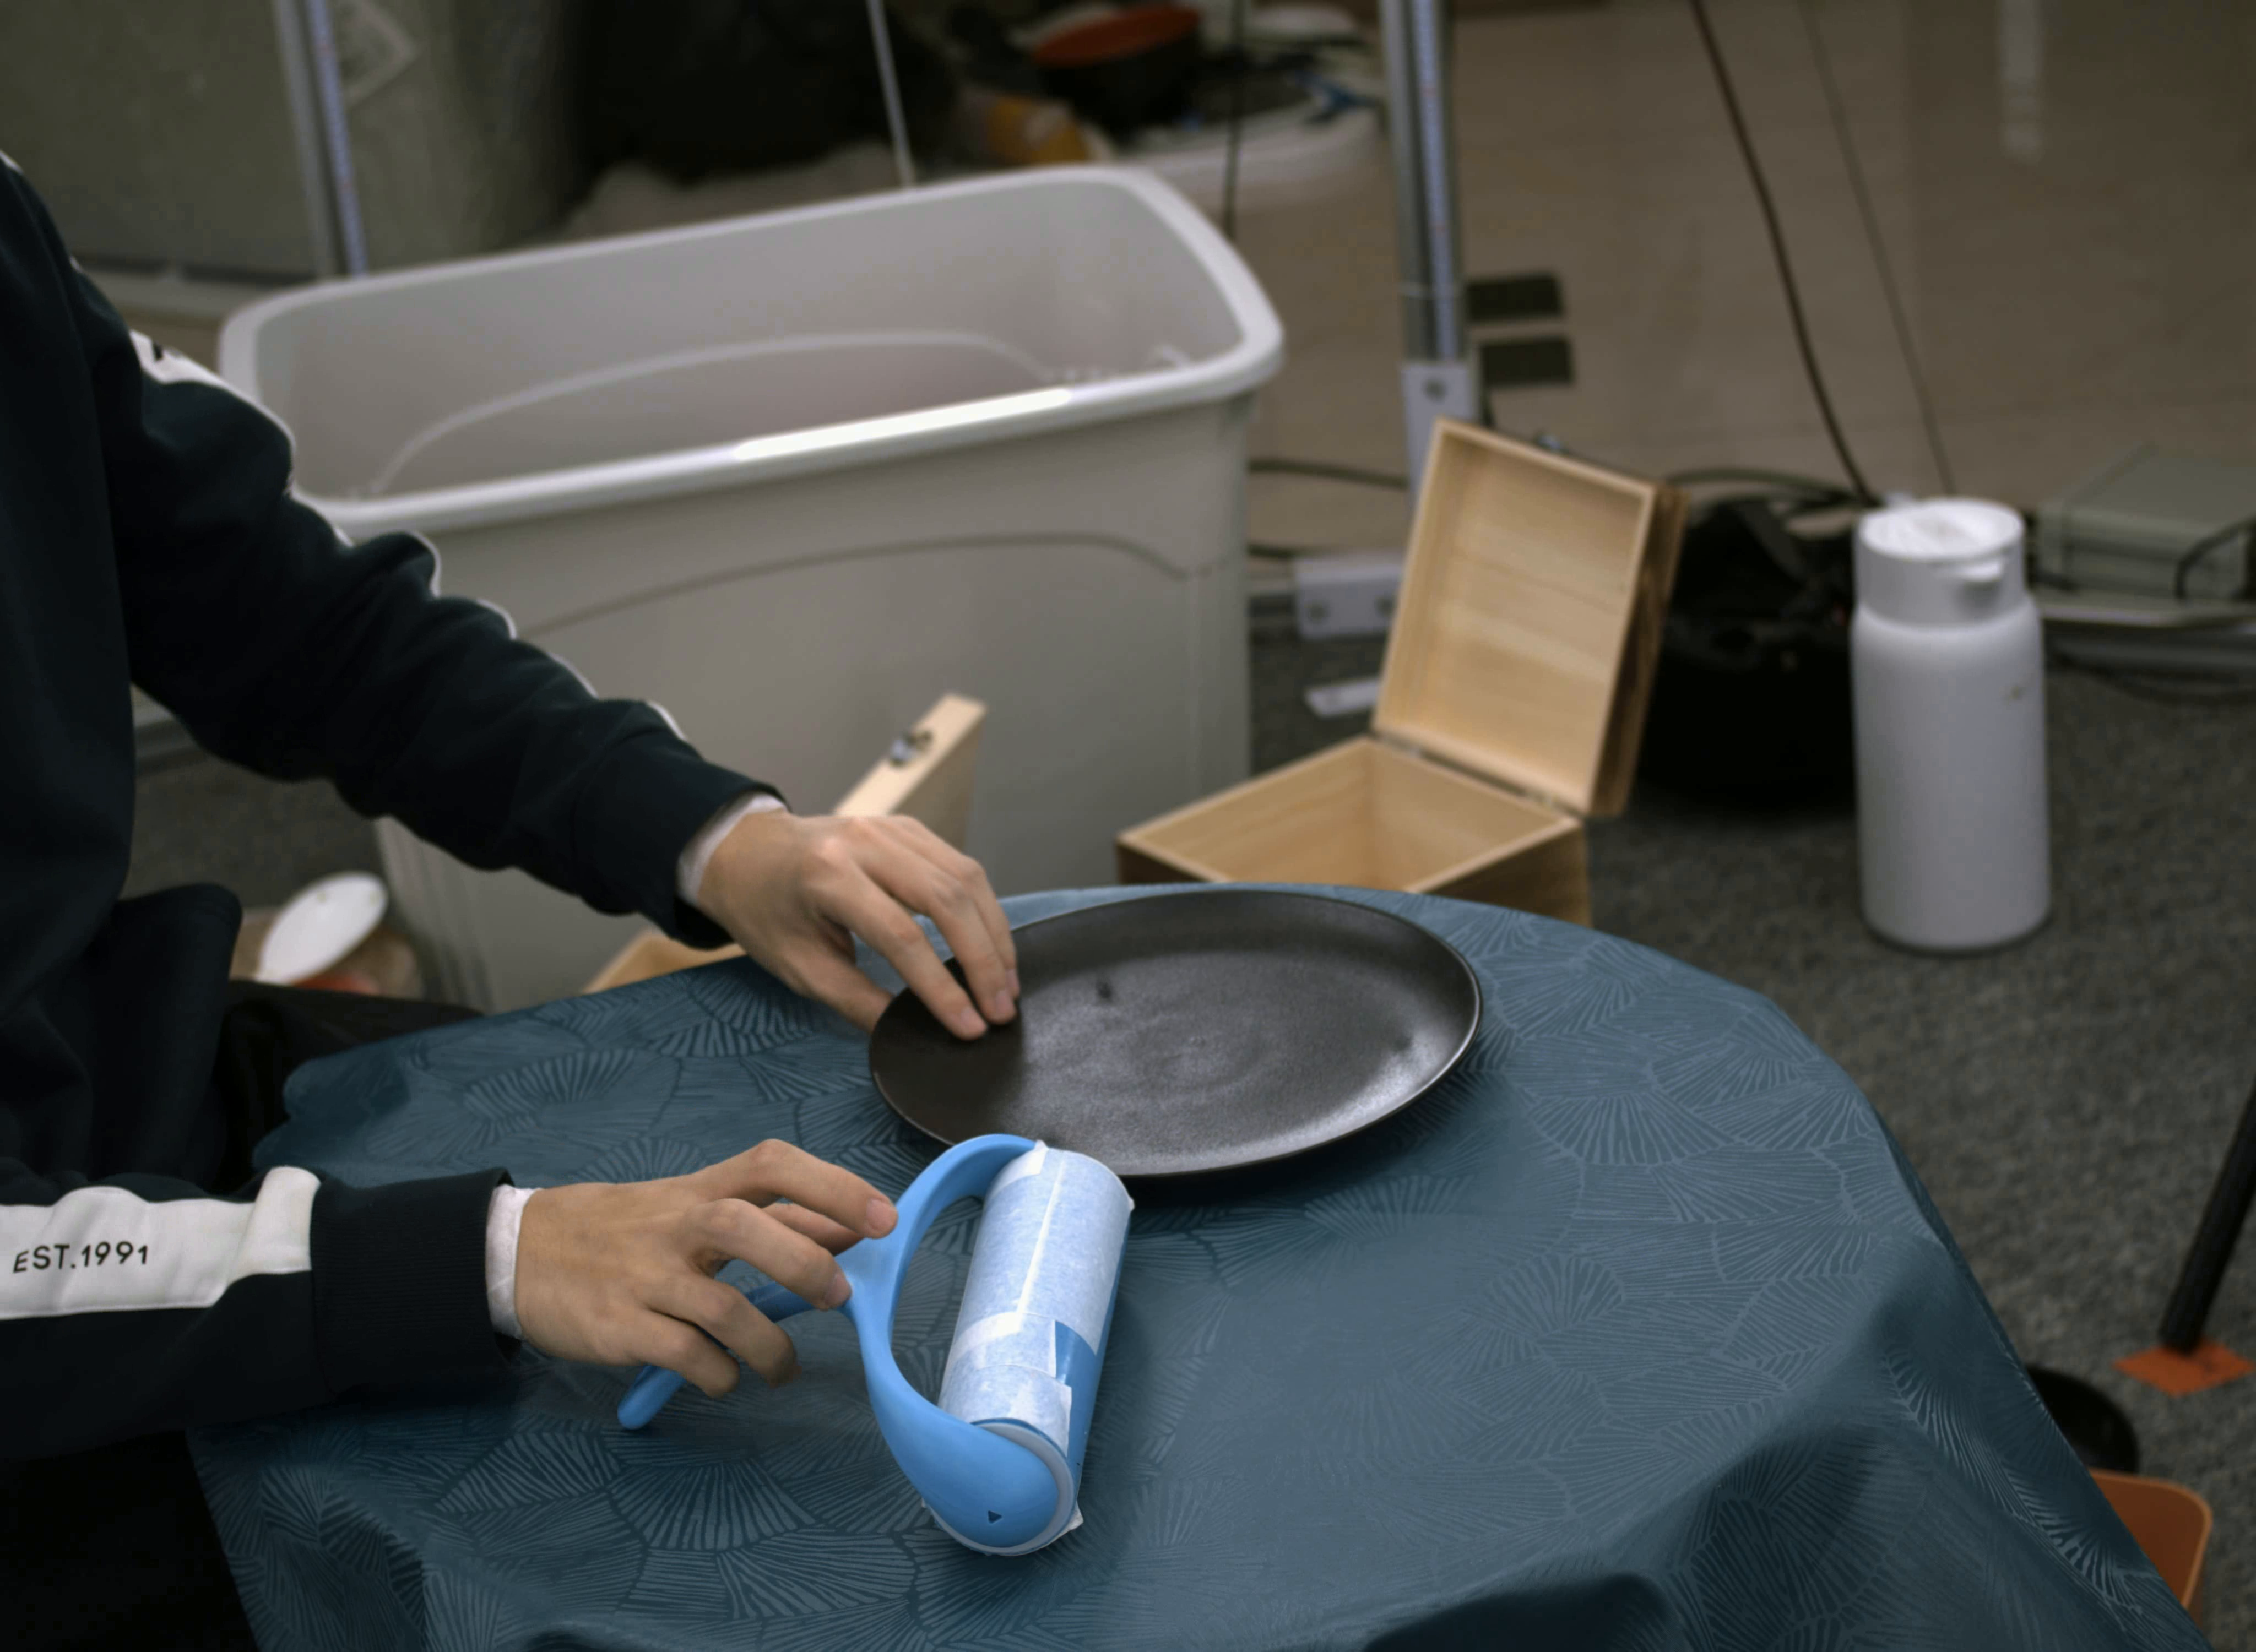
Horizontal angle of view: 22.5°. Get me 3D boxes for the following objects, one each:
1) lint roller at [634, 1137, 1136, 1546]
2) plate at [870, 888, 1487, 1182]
[{"bbox_3d":[-0.090,0.185,2.001,0.180,0.069,0.225,-5,26,5],"label":"lint roller"},{"bbox_3d":[0.020,0.087,2.224,0.244,0.024,0.241,-6,25,3],"label":"plate"}]
